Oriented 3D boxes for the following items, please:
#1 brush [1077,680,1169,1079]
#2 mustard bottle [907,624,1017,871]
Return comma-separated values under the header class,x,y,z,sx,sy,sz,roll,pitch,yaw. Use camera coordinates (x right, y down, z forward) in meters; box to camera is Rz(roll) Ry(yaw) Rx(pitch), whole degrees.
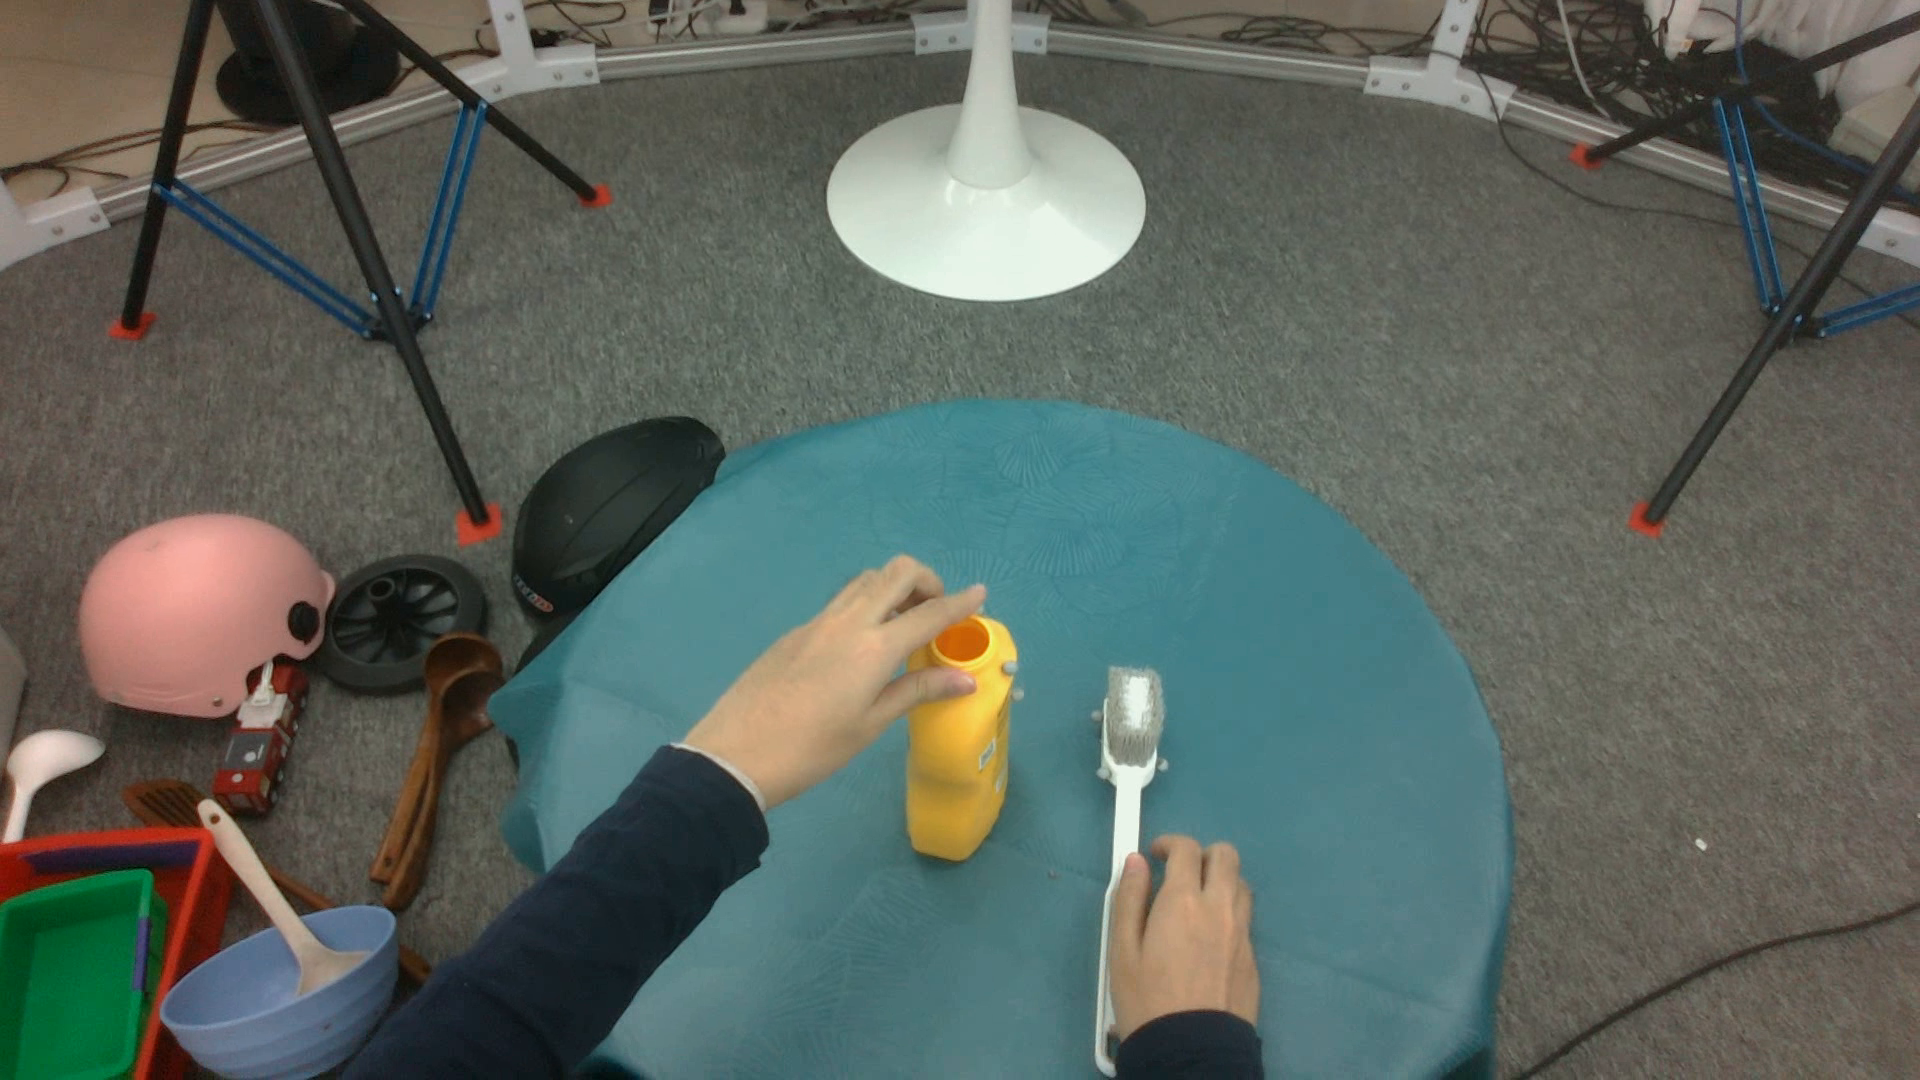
class,x,y,z,sx,sy,sz,roll,pitch,yaw
brush,0.096,0.188,0.807,0.034,0.050,0.245,11,51,1
mustard bottle,0.002,0.111,0.788,0.059,0.171,0.099,6,52,7
